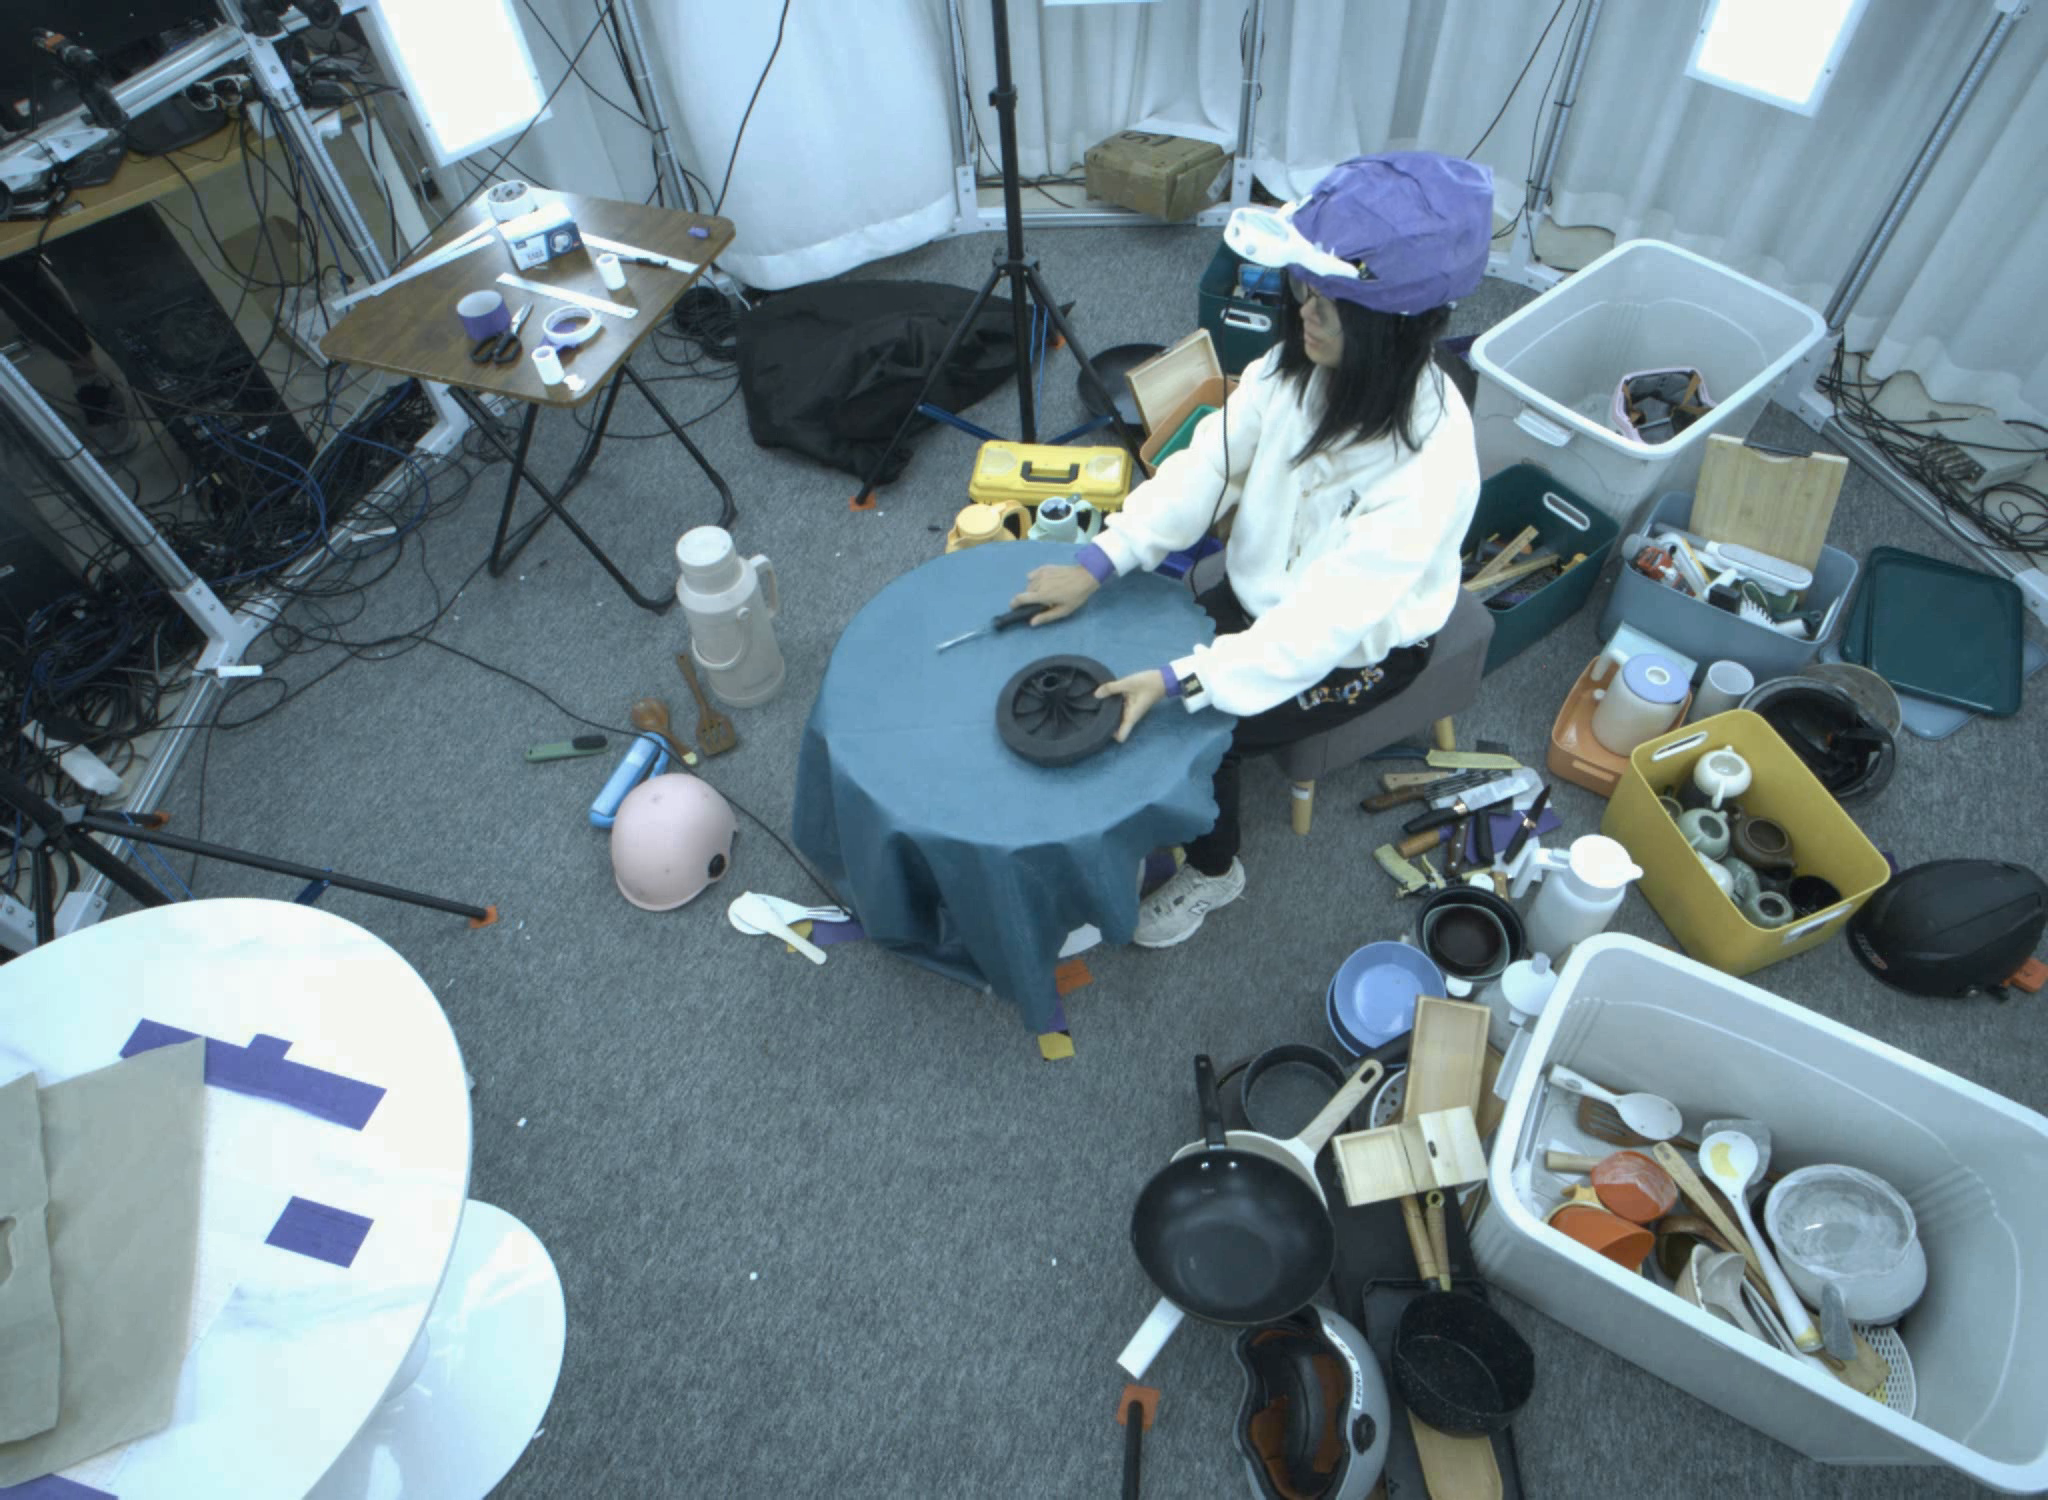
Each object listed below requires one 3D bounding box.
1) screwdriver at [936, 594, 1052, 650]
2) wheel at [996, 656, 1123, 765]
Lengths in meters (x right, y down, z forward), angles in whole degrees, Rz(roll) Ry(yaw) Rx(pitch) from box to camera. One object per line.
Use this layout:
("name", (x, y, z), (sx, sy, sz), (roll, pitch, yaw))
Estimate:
("screwdriver", (-0.048, -0.200, 1.915), (0.199, 0.032, 0.031), (-22, 57, -9))
("wheel", (0.045, -0.072, 1.782), (0.186, 0.080, 0.188), (21, 64, 28))
